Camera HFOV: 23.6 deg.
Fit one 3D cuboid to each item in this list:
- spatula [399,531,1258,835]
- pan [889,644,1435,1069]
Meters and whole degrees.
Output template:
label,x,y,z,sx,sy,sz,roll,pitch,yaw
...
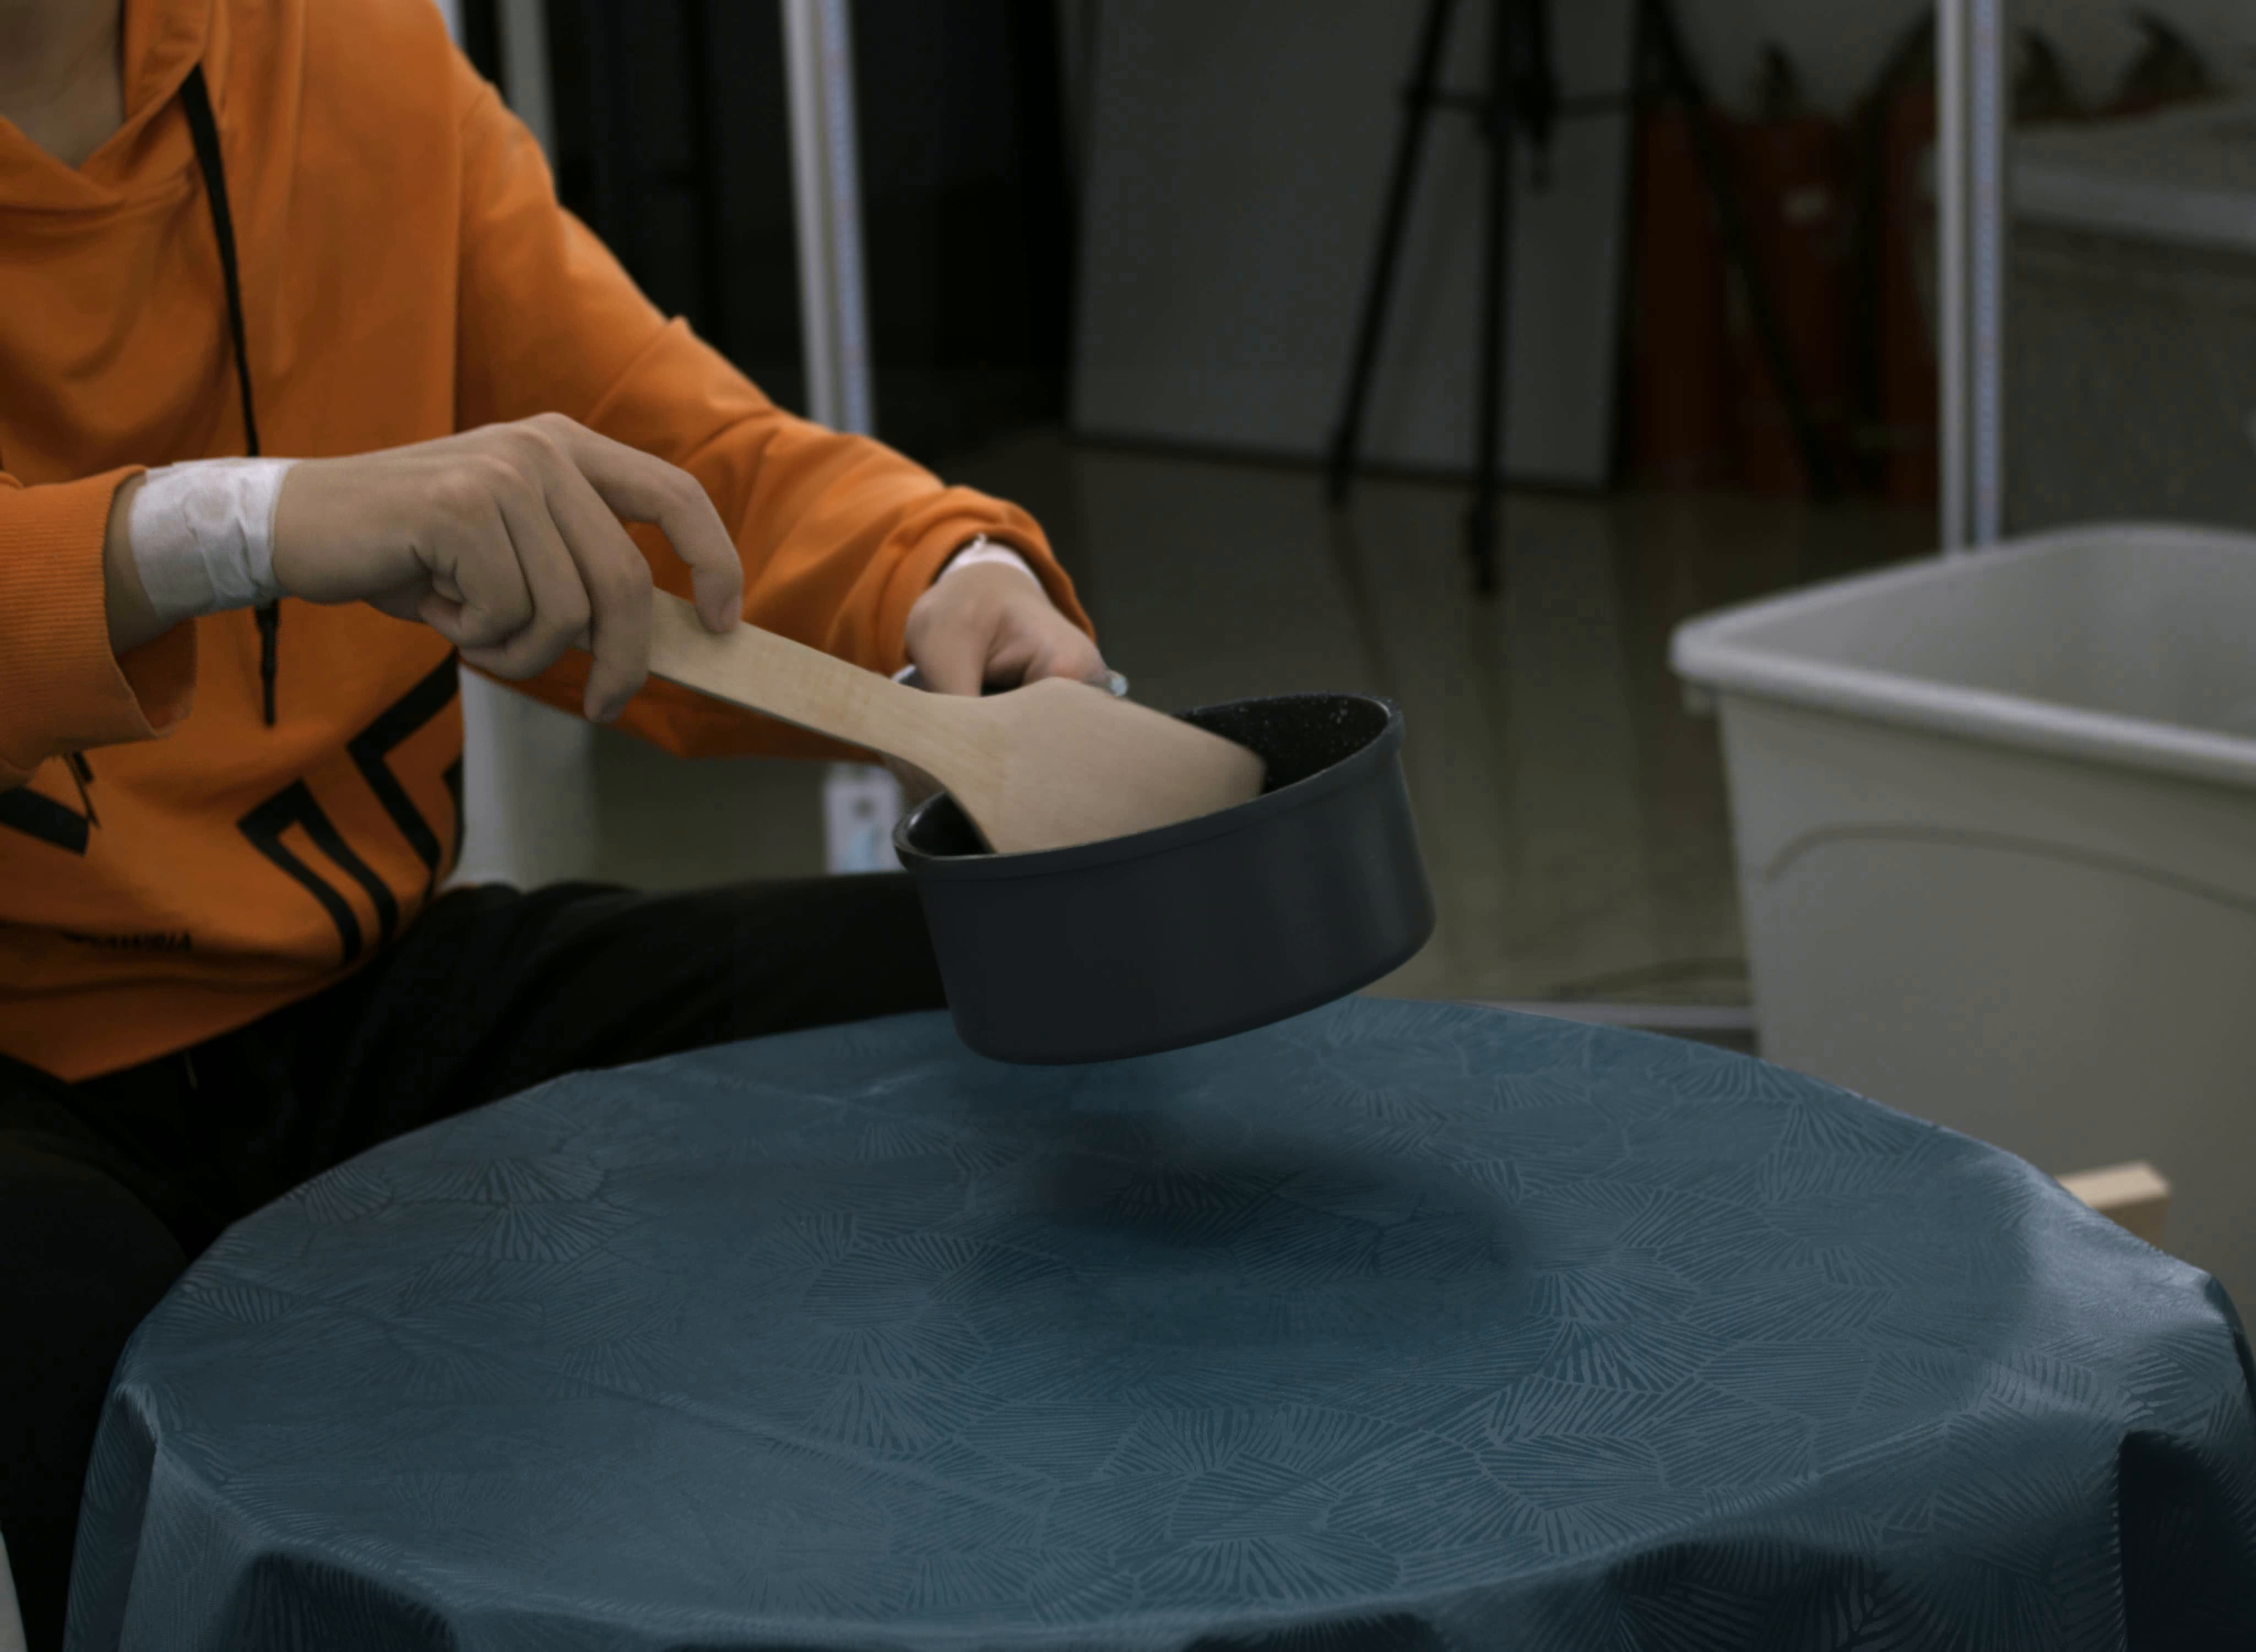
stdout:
label,x,y,z,sx,sy,sz,roll,pitch,yaw
spatula,-0.096,-0.047,1.762,0.288,0.073,0.011,15,-6,-13
pan,-0.010,0.002,1.822,0.169,0.087,0.331,-17,13,-13
